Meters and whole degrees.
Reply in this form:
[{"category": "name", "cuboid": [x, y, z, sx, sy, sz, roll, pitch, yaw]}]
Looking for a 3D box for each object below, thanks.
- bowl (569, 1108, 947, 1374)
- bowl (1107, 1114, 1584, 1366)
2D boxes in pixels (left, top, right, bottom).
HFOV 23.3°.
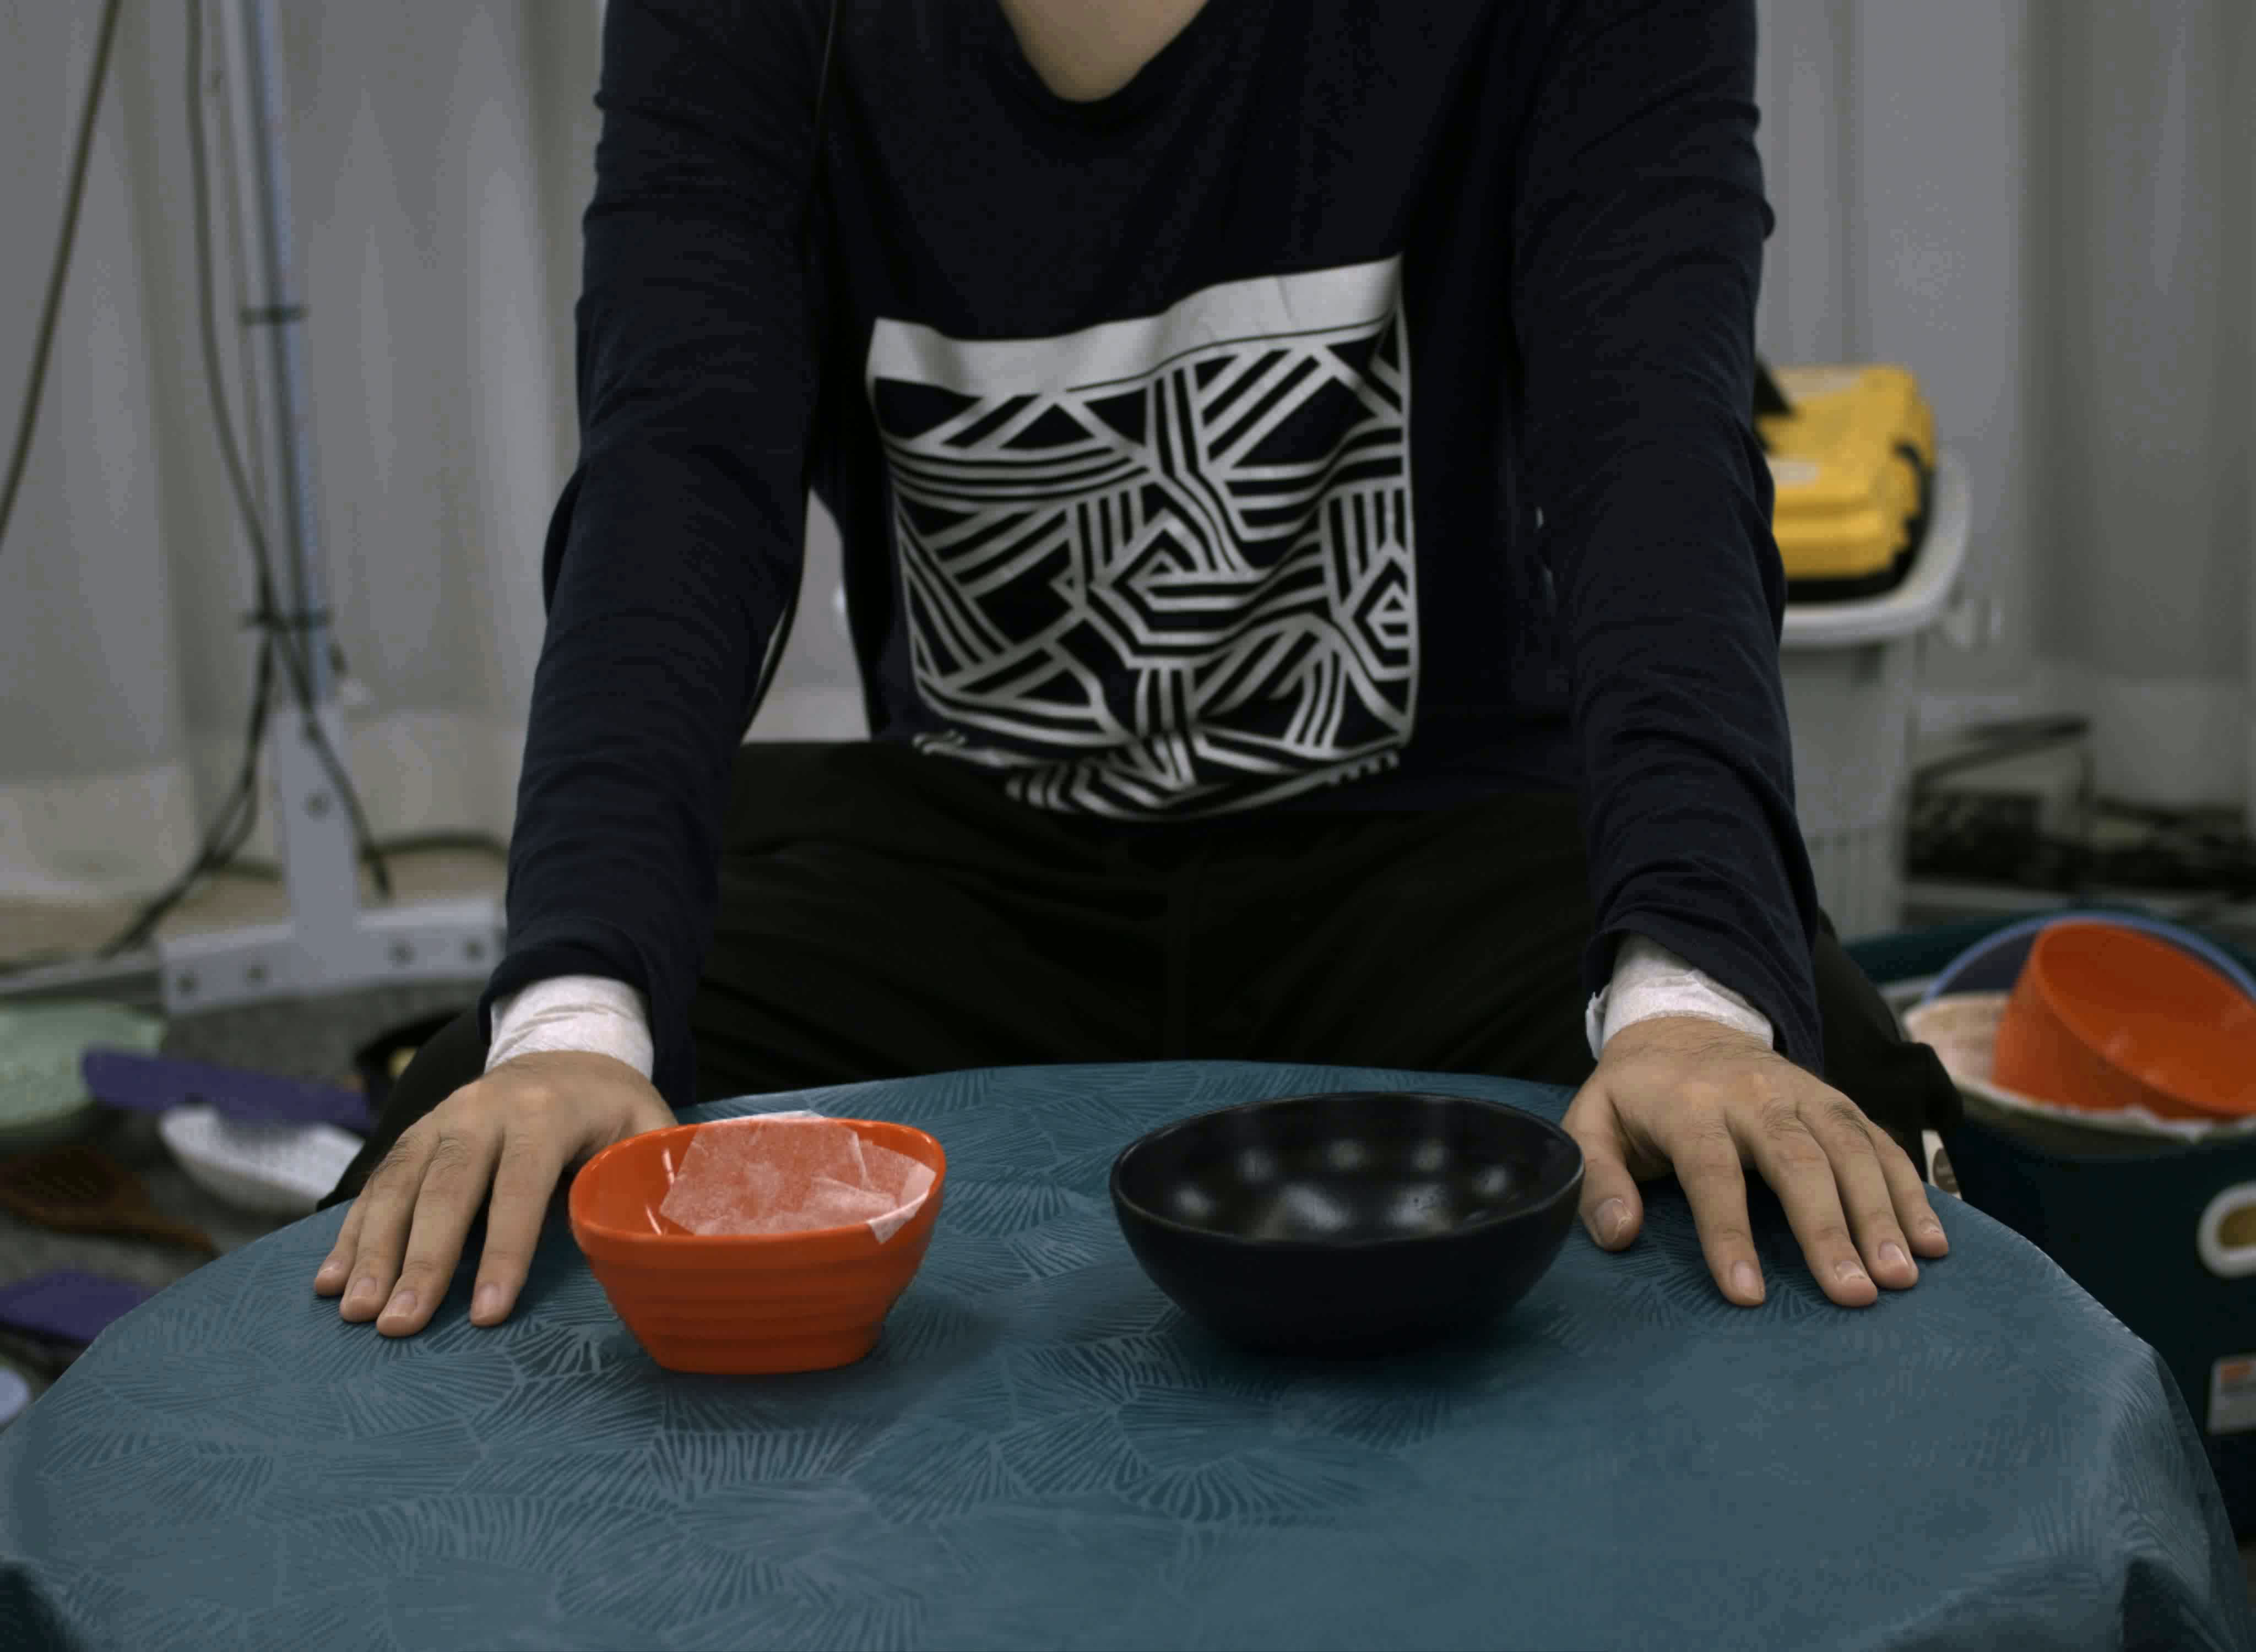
[{"category": "bowl", "cuboid": [-0.106, 0.124, 1.599, 0.118, 0.051, 0.120, -4, 16, 1]}, {"category": "bowl", "cuboid": [0.064, 0.124, 1.588, 0.139, 0.049, 0.140, -2, 10, 0]}]
